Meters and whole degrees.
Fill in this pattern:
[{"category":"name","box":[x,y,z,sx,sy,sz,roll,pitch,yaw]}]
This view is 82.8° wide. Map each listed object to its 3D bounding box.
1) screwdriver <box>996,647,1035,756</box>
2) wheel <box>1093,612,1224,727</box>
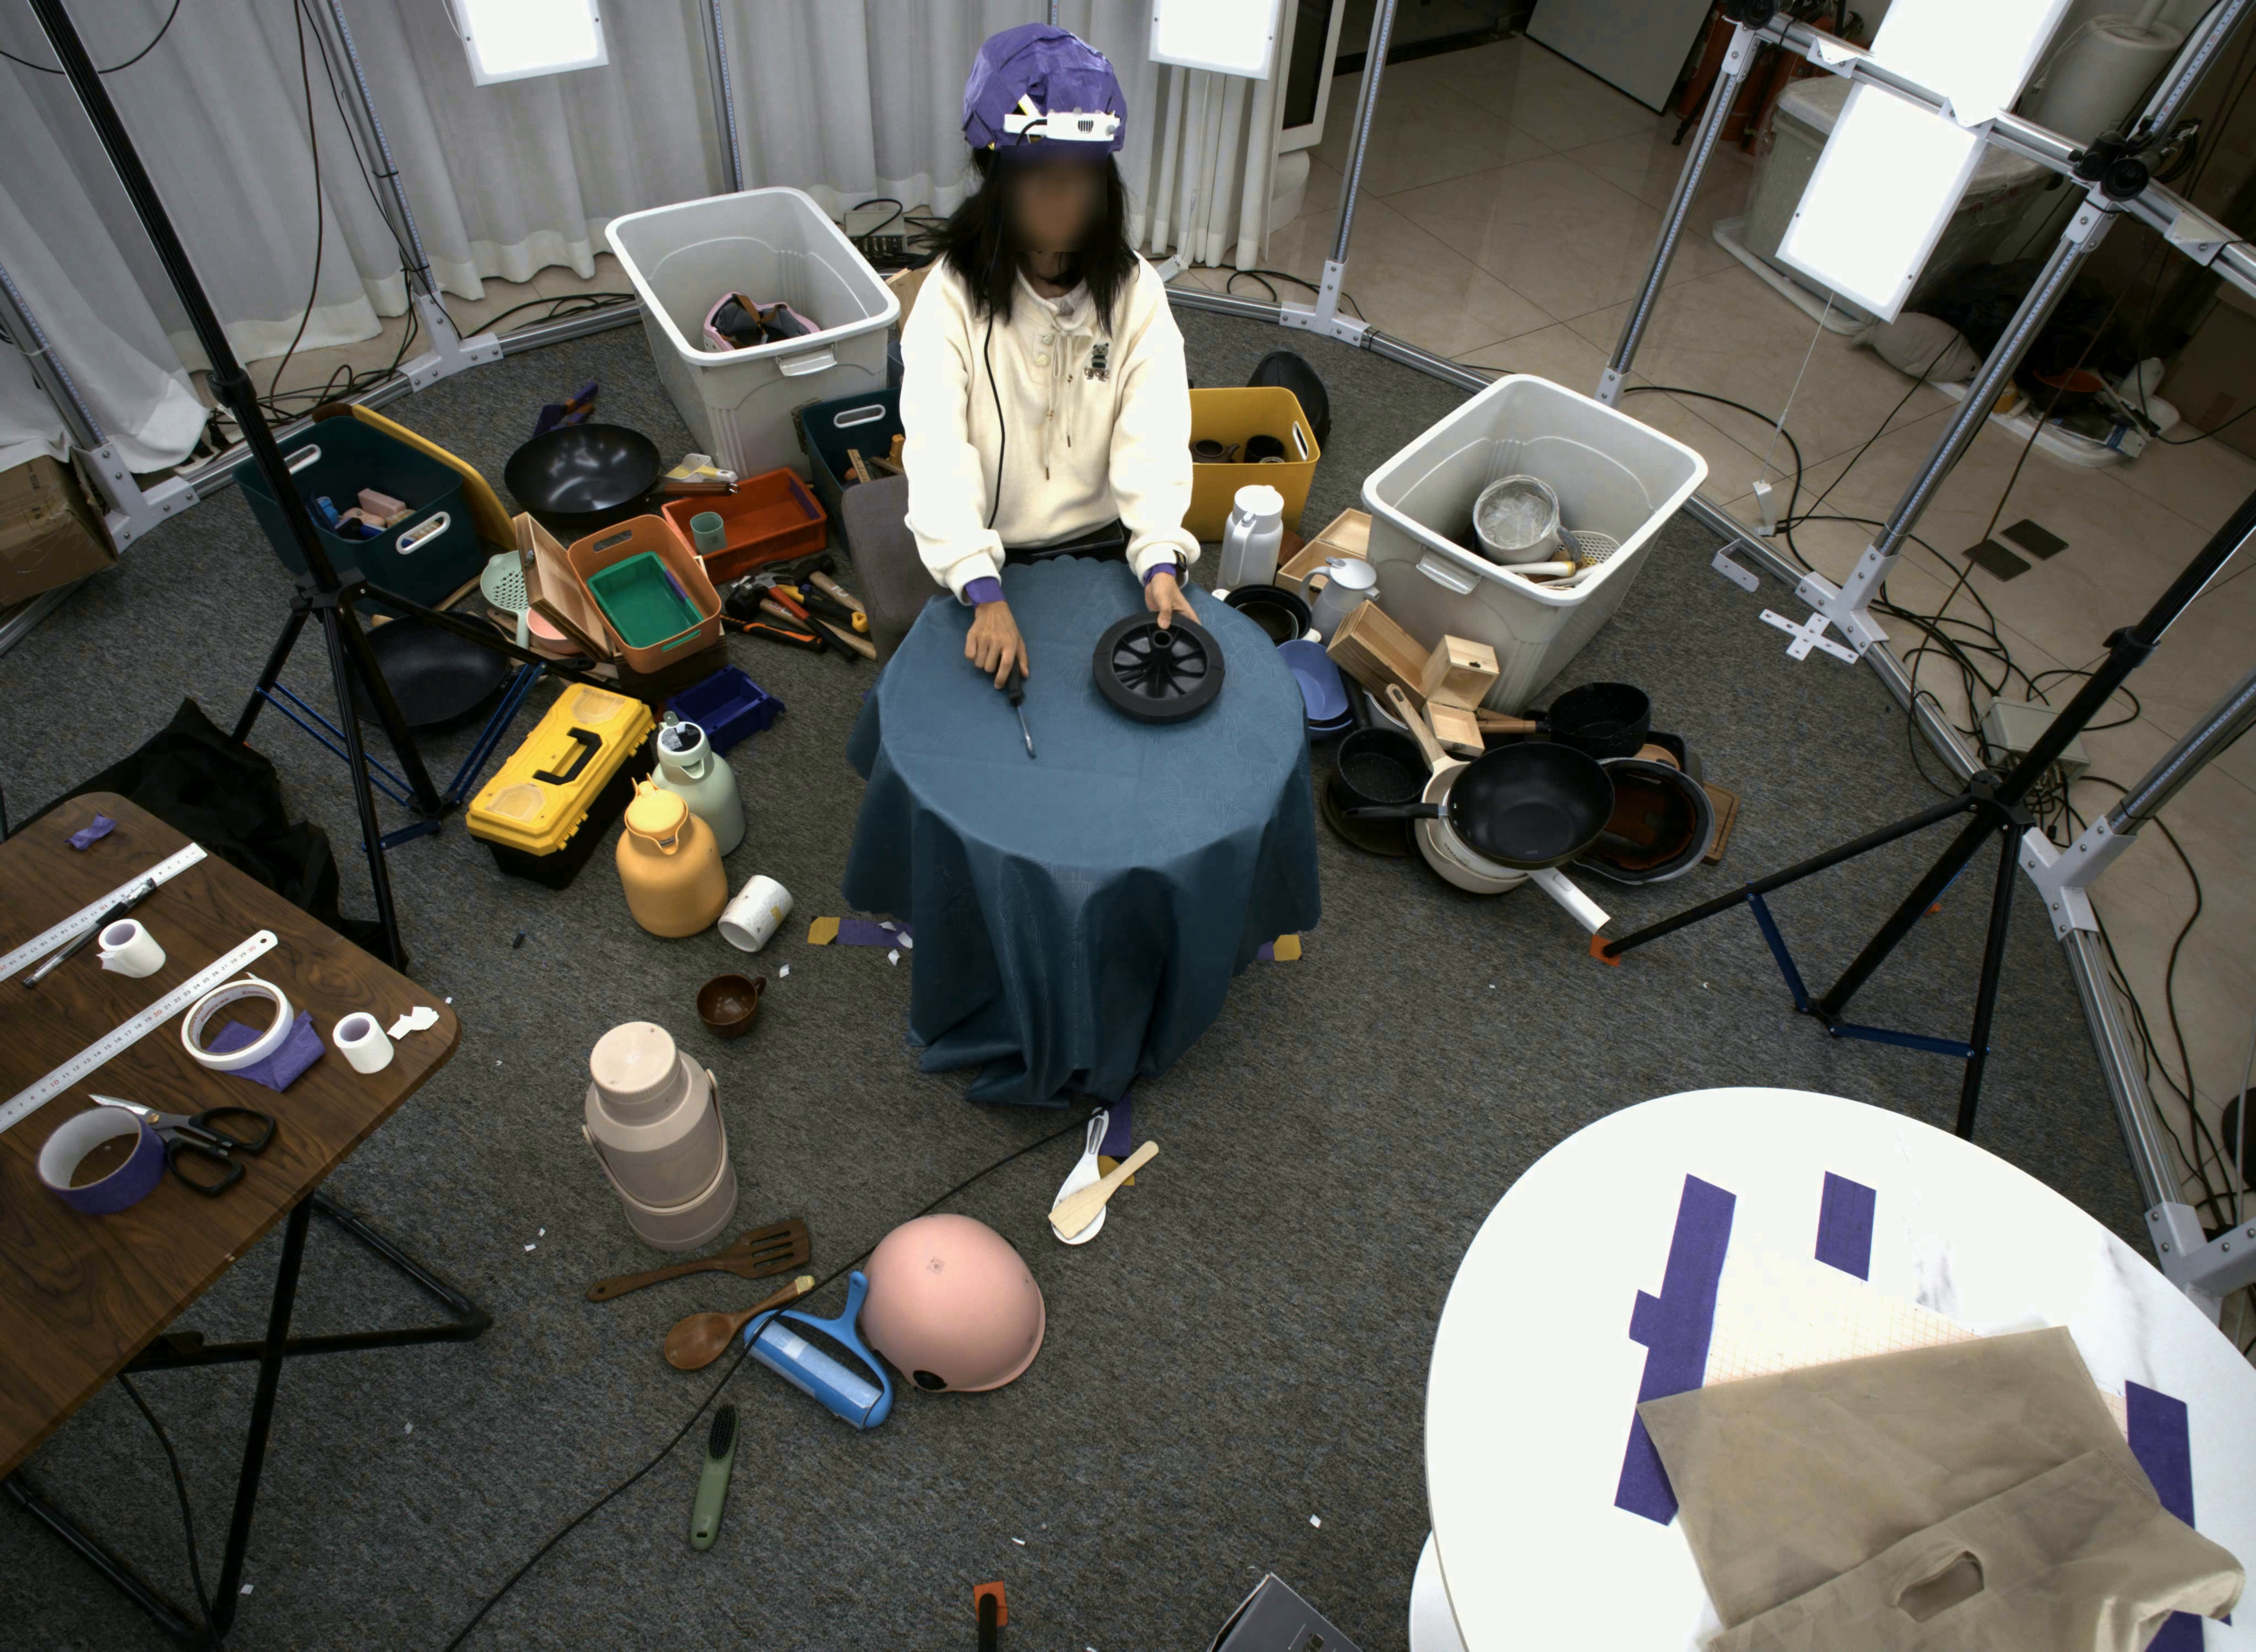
[{"category":"screwdriver","box":[-0.157,-0.174,1.794,0.031,0.031,0.203,-7,53,-11]},{"category":"wheel","box":[0.044,-0.236,1.820,0.189,0.077,0.191,39,67,19]}]
